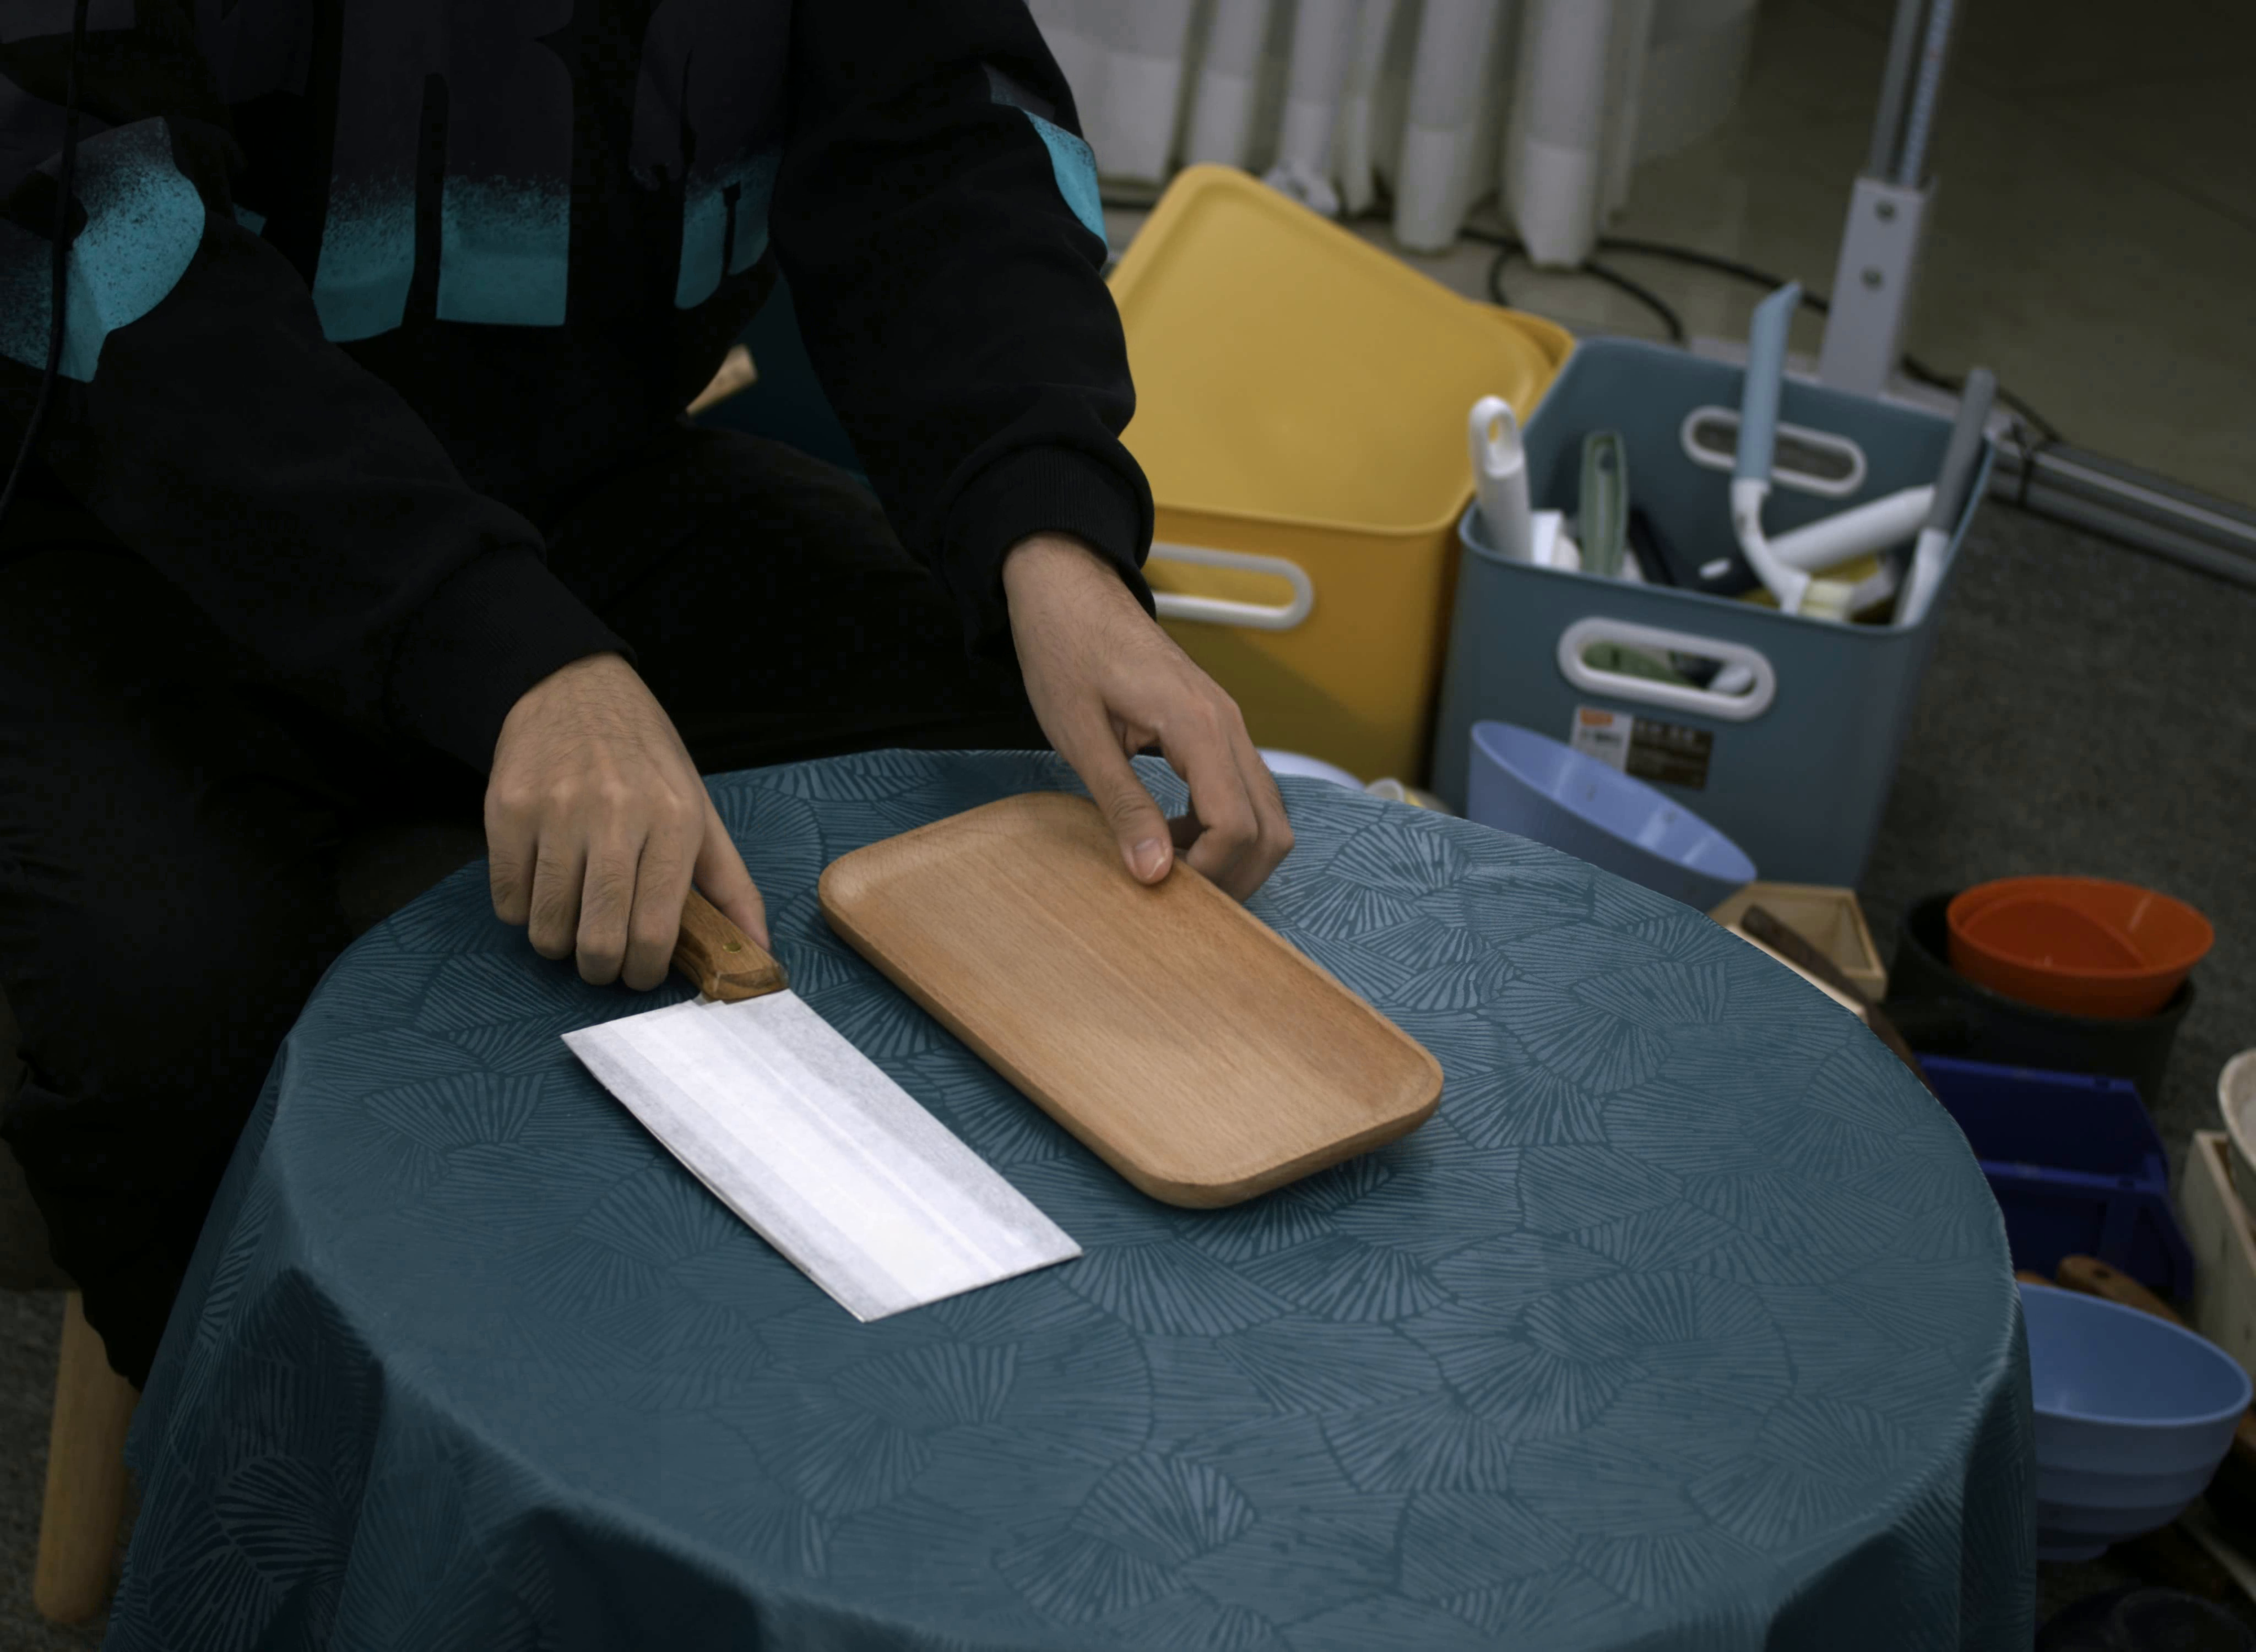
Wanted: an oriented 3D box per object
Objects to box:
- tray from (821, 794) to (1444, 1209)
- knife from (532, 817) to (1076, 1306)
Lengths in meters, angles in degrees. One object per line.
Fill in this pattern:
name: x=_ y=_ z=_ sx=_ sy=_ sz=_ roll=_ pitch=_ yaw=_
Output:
tray: x=-0.002 y=0.060 z=1.897 sx=0.130 sy=0.023 sz=0.253 roll=-15 pitch=33 yaw=-29
knife: x=-0.138 y=0.080 z=1.840 sx=0.092 sy=0.021 sz=0.308 roll=-15 pitch=36 yaw=-33
